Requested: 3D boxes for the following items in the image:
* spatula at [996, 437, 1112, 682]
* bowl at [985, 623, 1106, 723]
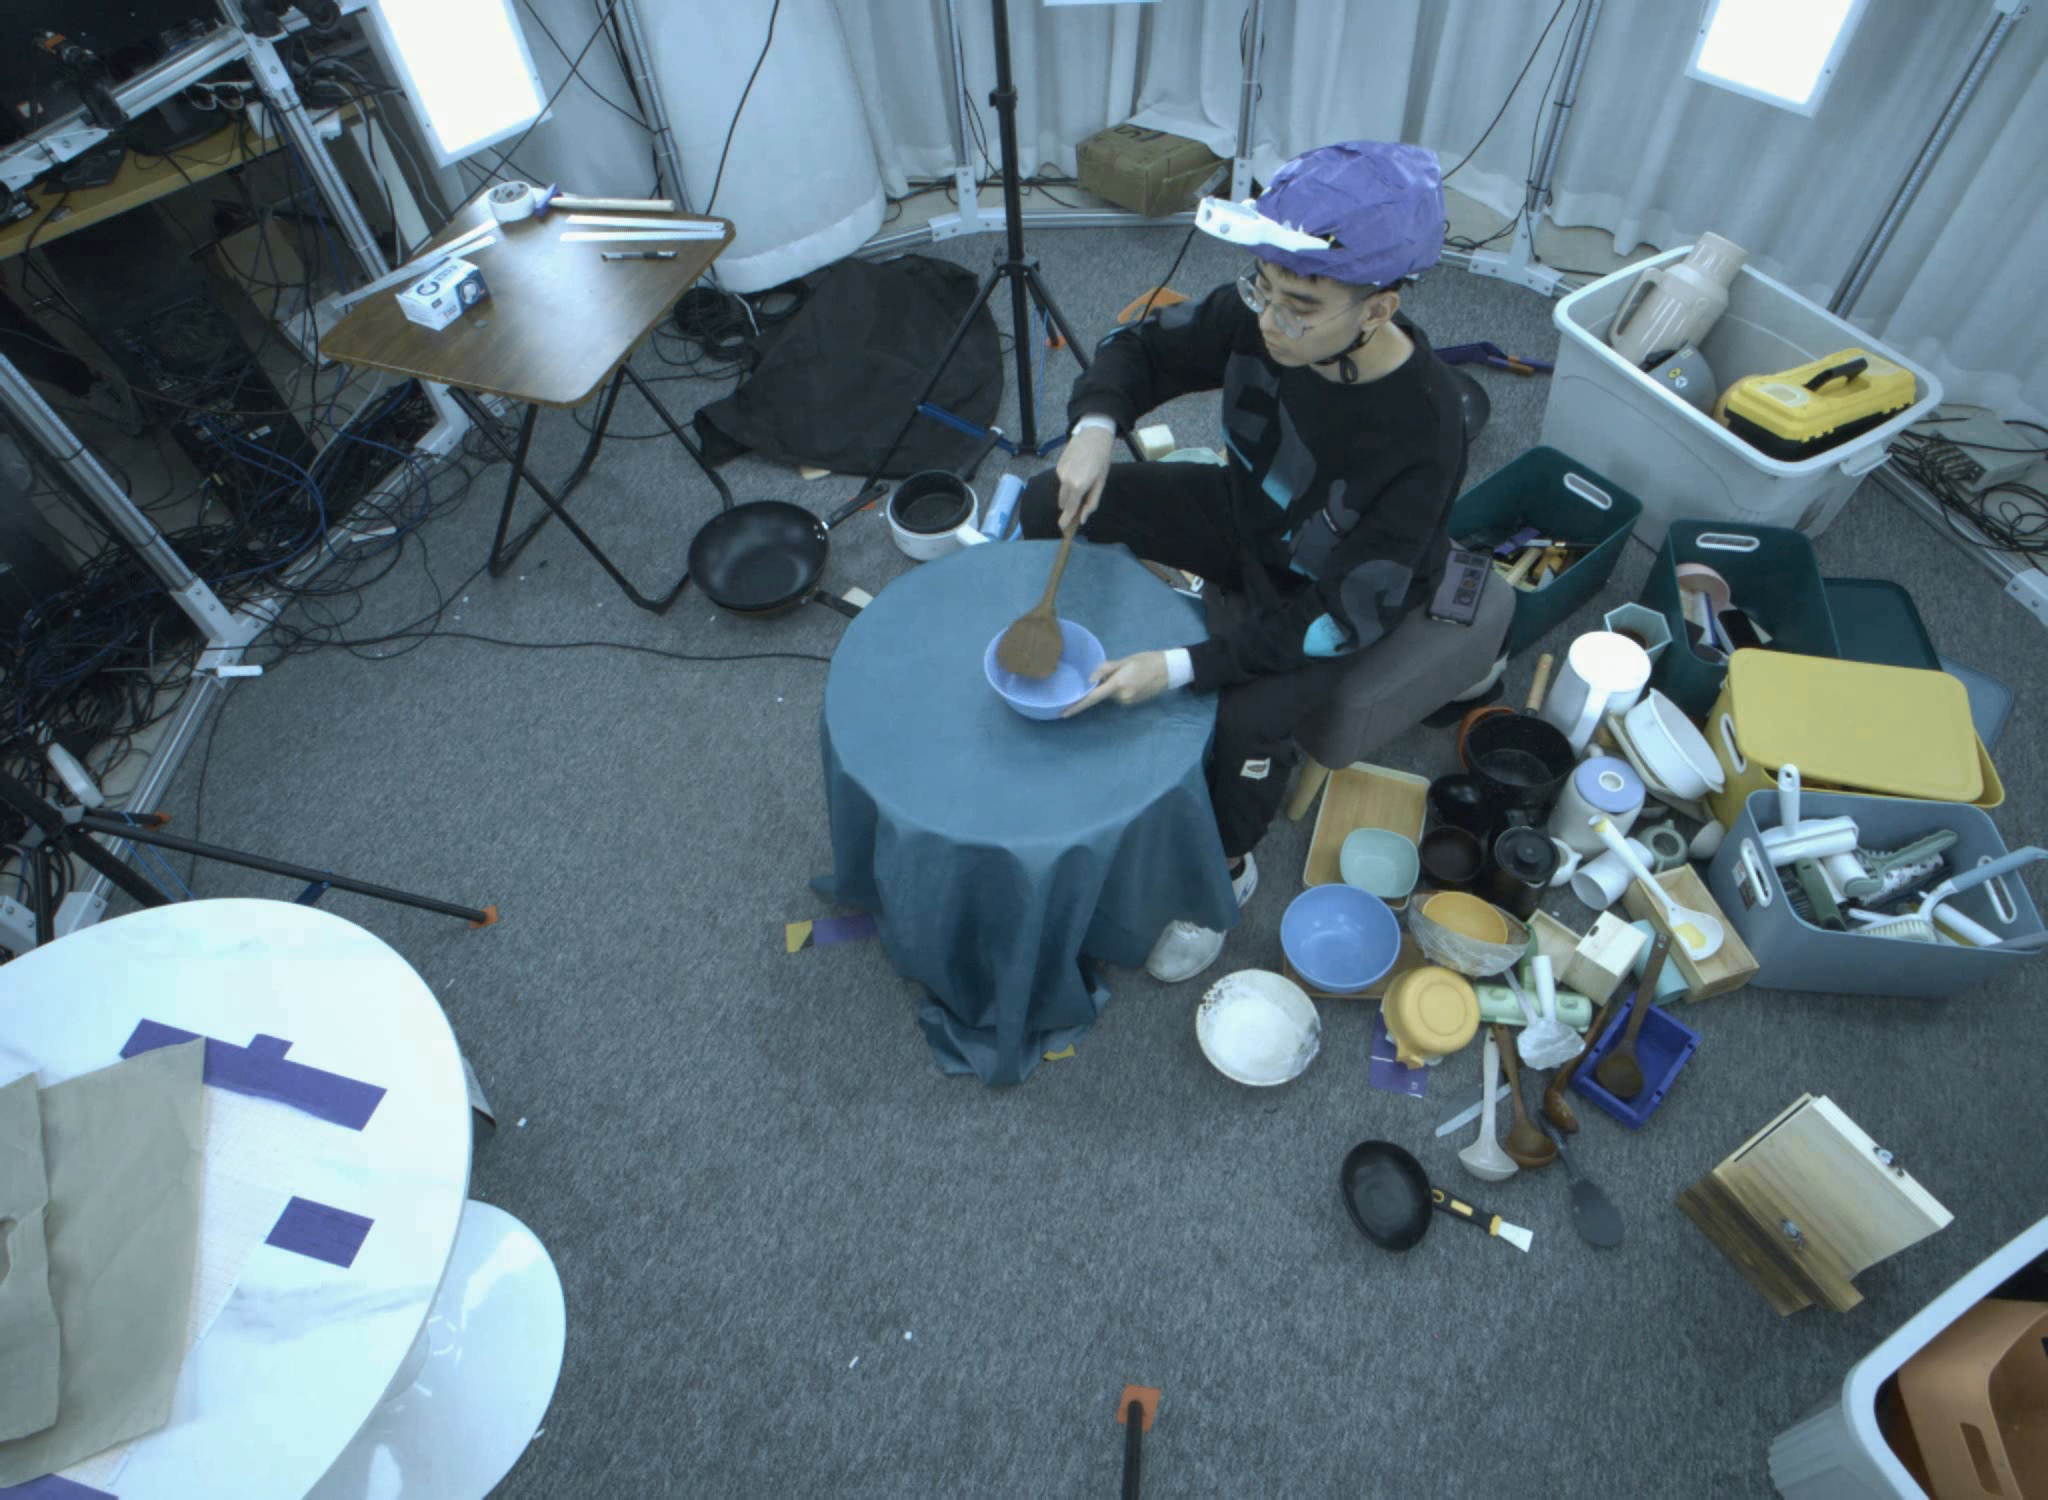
[{"bbox_3d":[0.058,-0.286,1.810,0.095,0.016,0.386,19,90,15],"label":"spatula"},{"bbox_3d":[0.031,-0.105,1.819,0.176,0.071,0.174,1,52,0],"label":"bowl"}]
